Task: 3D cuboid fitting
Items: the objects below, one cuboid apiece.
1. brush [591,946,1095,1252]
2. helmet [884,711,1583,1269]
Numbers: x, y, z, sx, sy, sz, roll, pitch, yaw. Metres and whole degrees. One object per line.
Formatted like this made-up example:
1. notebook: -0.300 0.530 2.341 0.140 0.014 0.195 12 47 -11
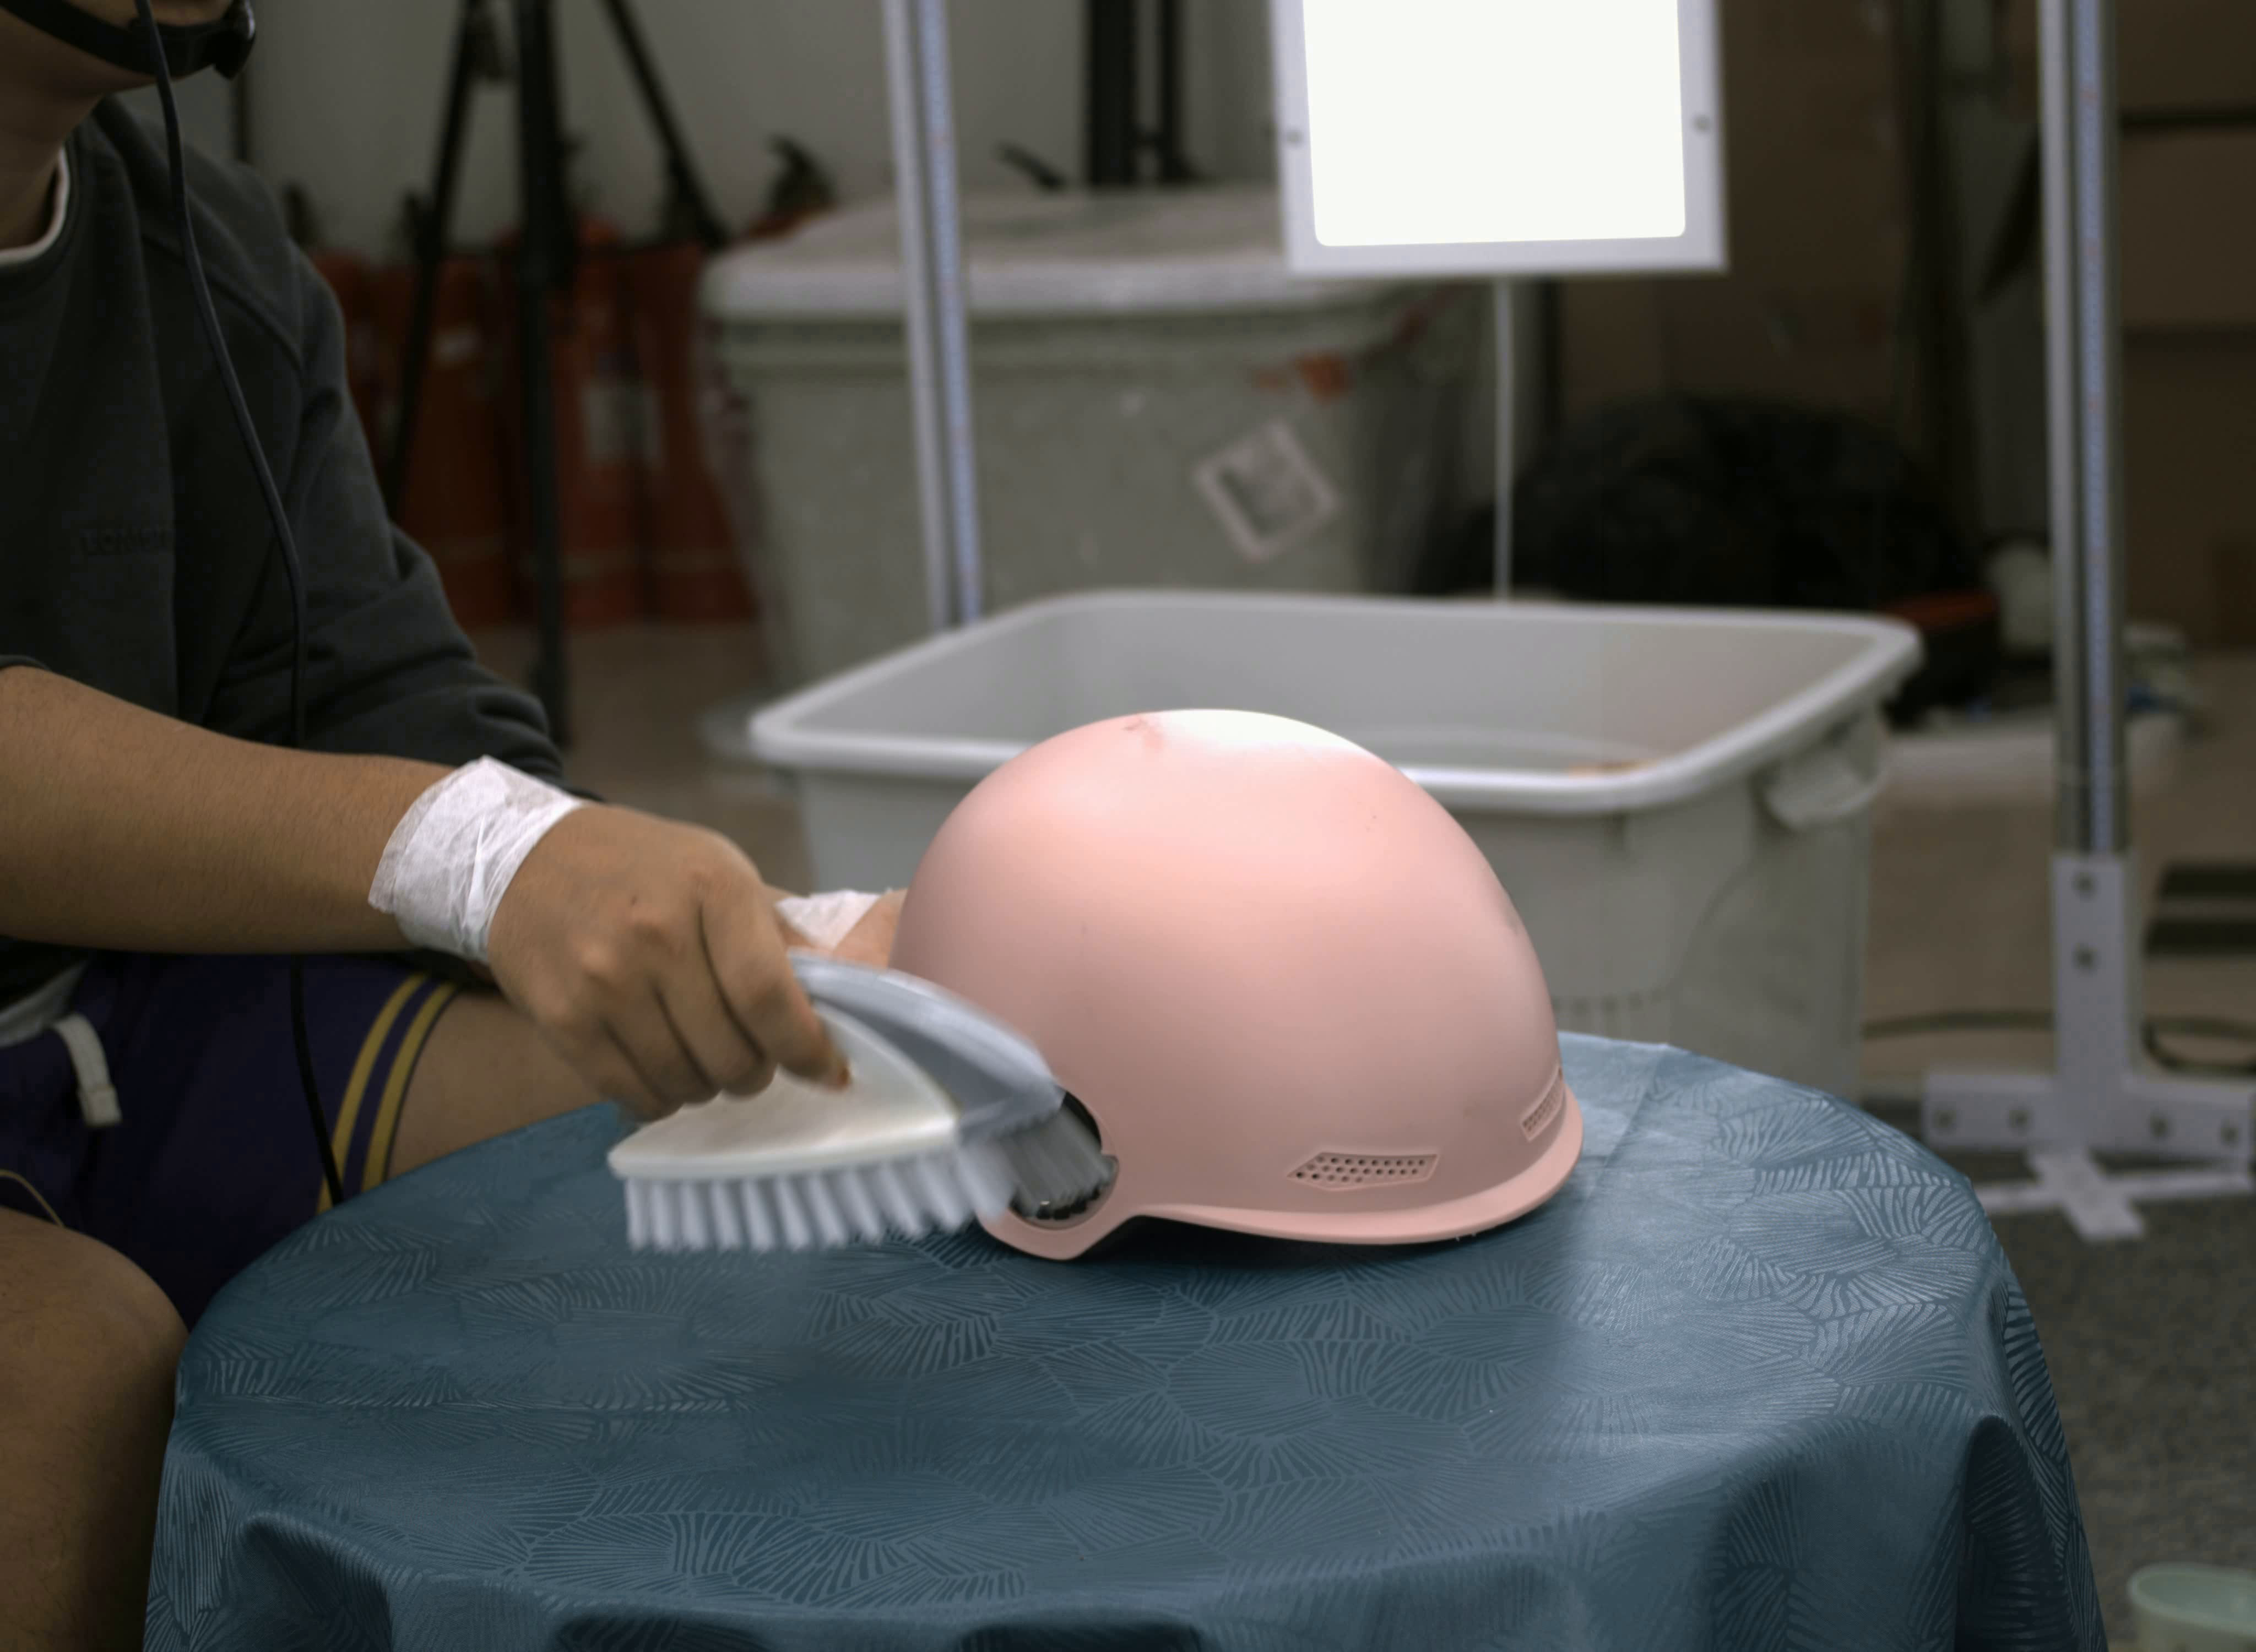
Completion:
1. brush: -0.093 0.079 1.705 0.179 0.094 0.060 1 32 38
2. helmet: 0.033 0.046 1.894 0.228 0.159 0.271 -16 23 -40
